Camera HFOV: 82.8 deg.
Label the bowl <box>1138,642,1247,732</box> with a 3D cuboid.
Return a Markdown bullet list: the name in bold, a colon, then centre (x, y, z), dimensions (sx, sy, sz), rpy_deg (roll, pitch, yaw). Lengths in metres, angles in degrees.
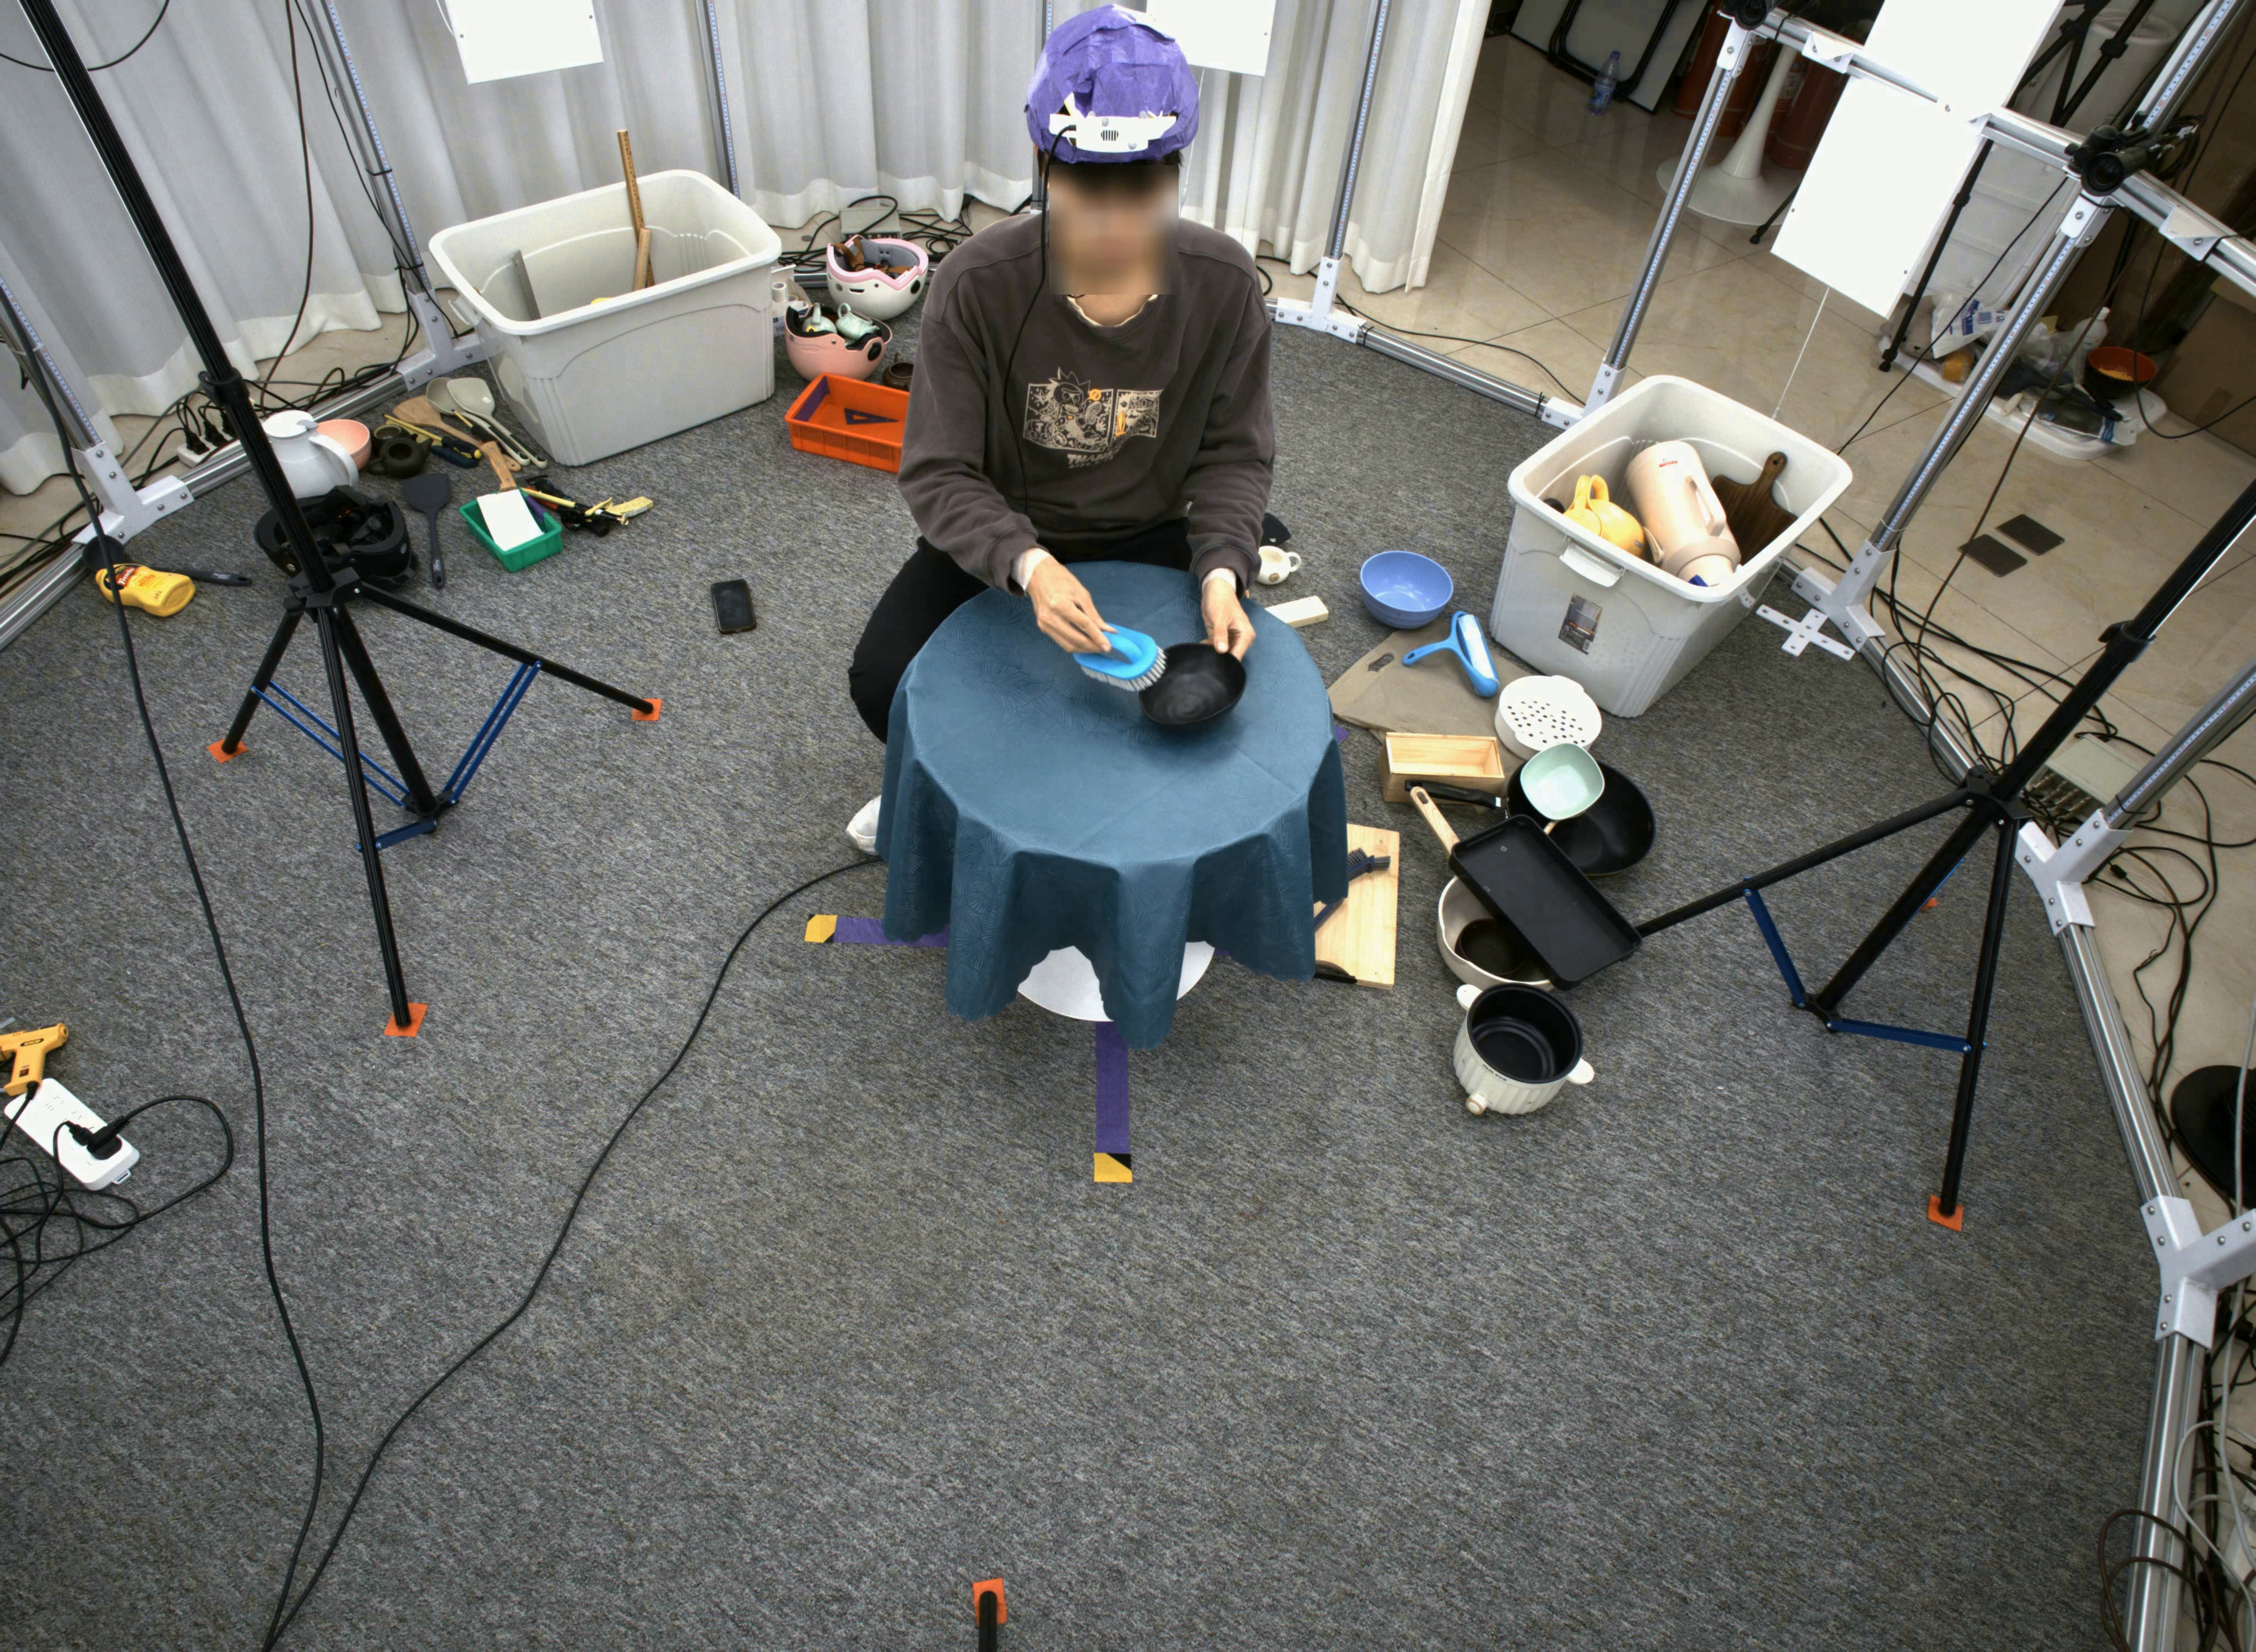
- **bowl**: centre (0.088, -0.181, 1.788), dimensions (0.139, 0.065, 0.172), rpy_deg (32, 56, 24)

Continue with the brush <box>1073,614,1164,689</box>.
- **brush**: centre (-0.022, -0.248, 1.759), dimensions (0.144, 0.062, 0.085), rpy_deg (26, 80, 38)
